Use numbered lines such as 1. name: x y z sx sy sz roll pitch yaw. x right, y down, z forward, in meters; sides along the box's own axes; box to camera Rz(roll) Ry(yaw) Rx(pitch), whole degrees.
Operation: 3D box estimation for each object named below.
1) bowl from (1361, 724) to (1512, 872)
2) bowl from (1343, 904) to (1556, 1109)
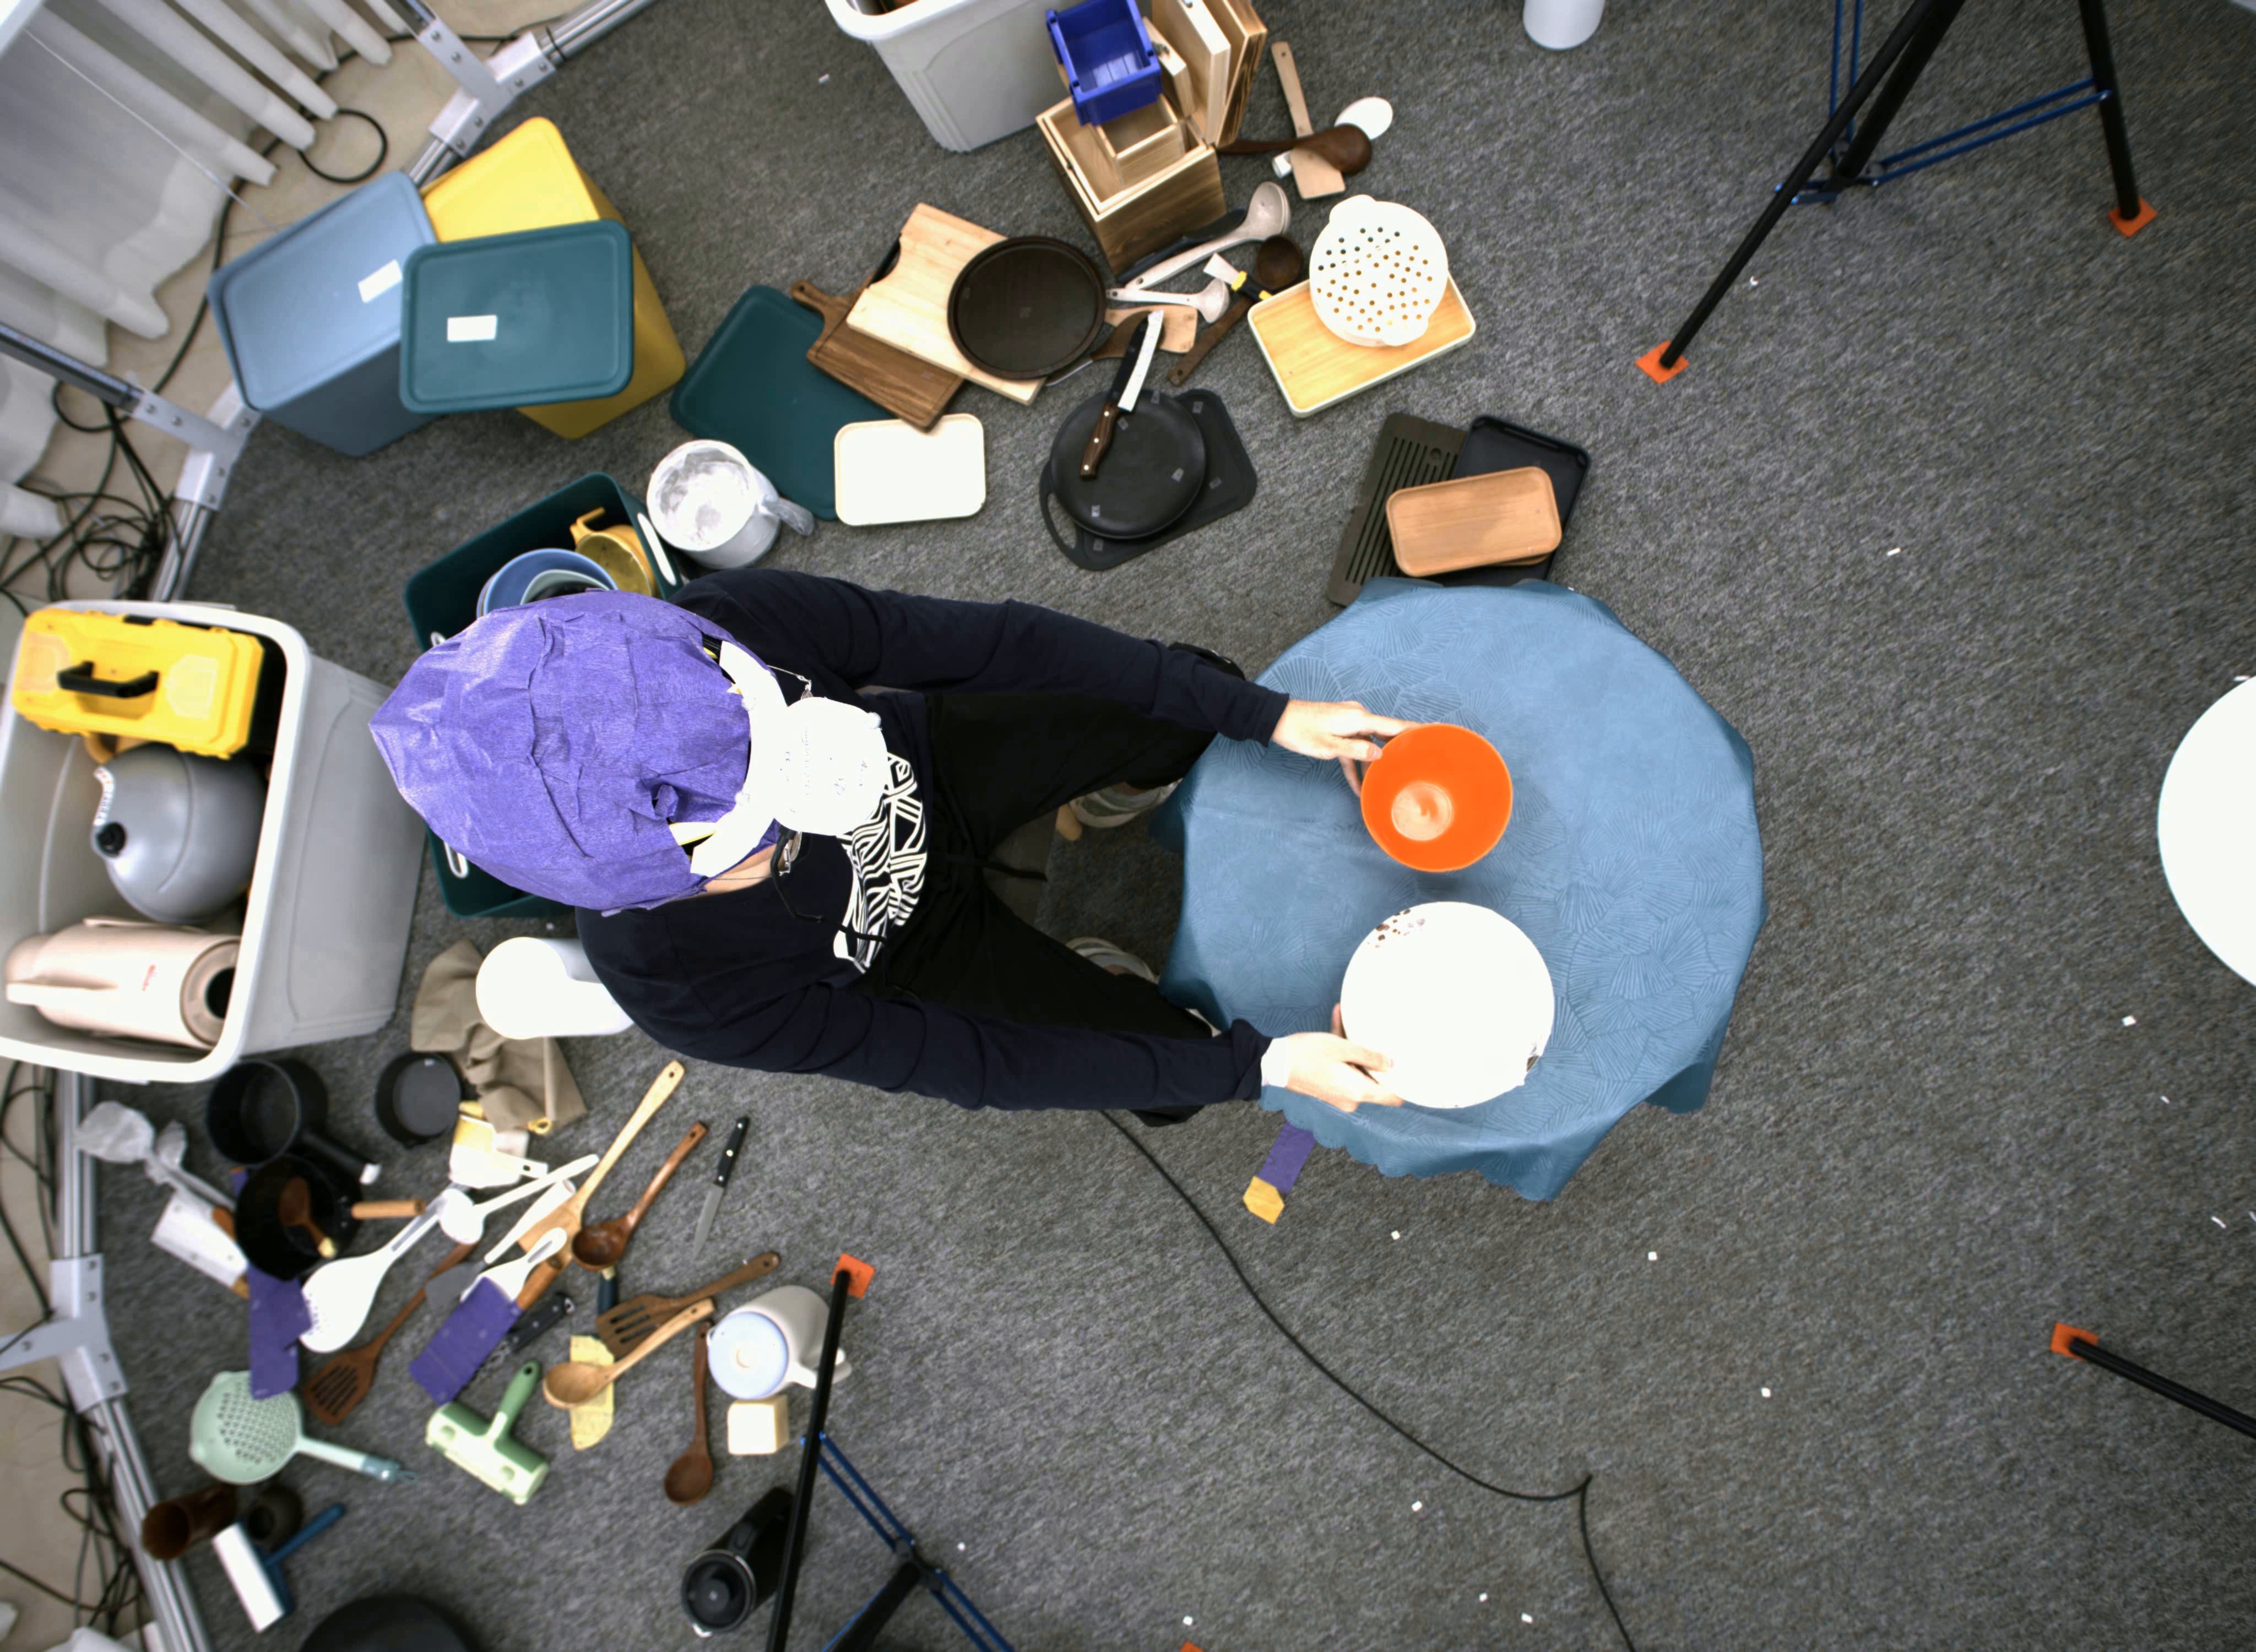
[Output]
1. bowl: 0.314 -0.025 1.407 0.148 0.104 0.147 -1 86 12
2. bowl: 0.320 0.183 1.367 0.205 0.079 0.200 -7 69 18
